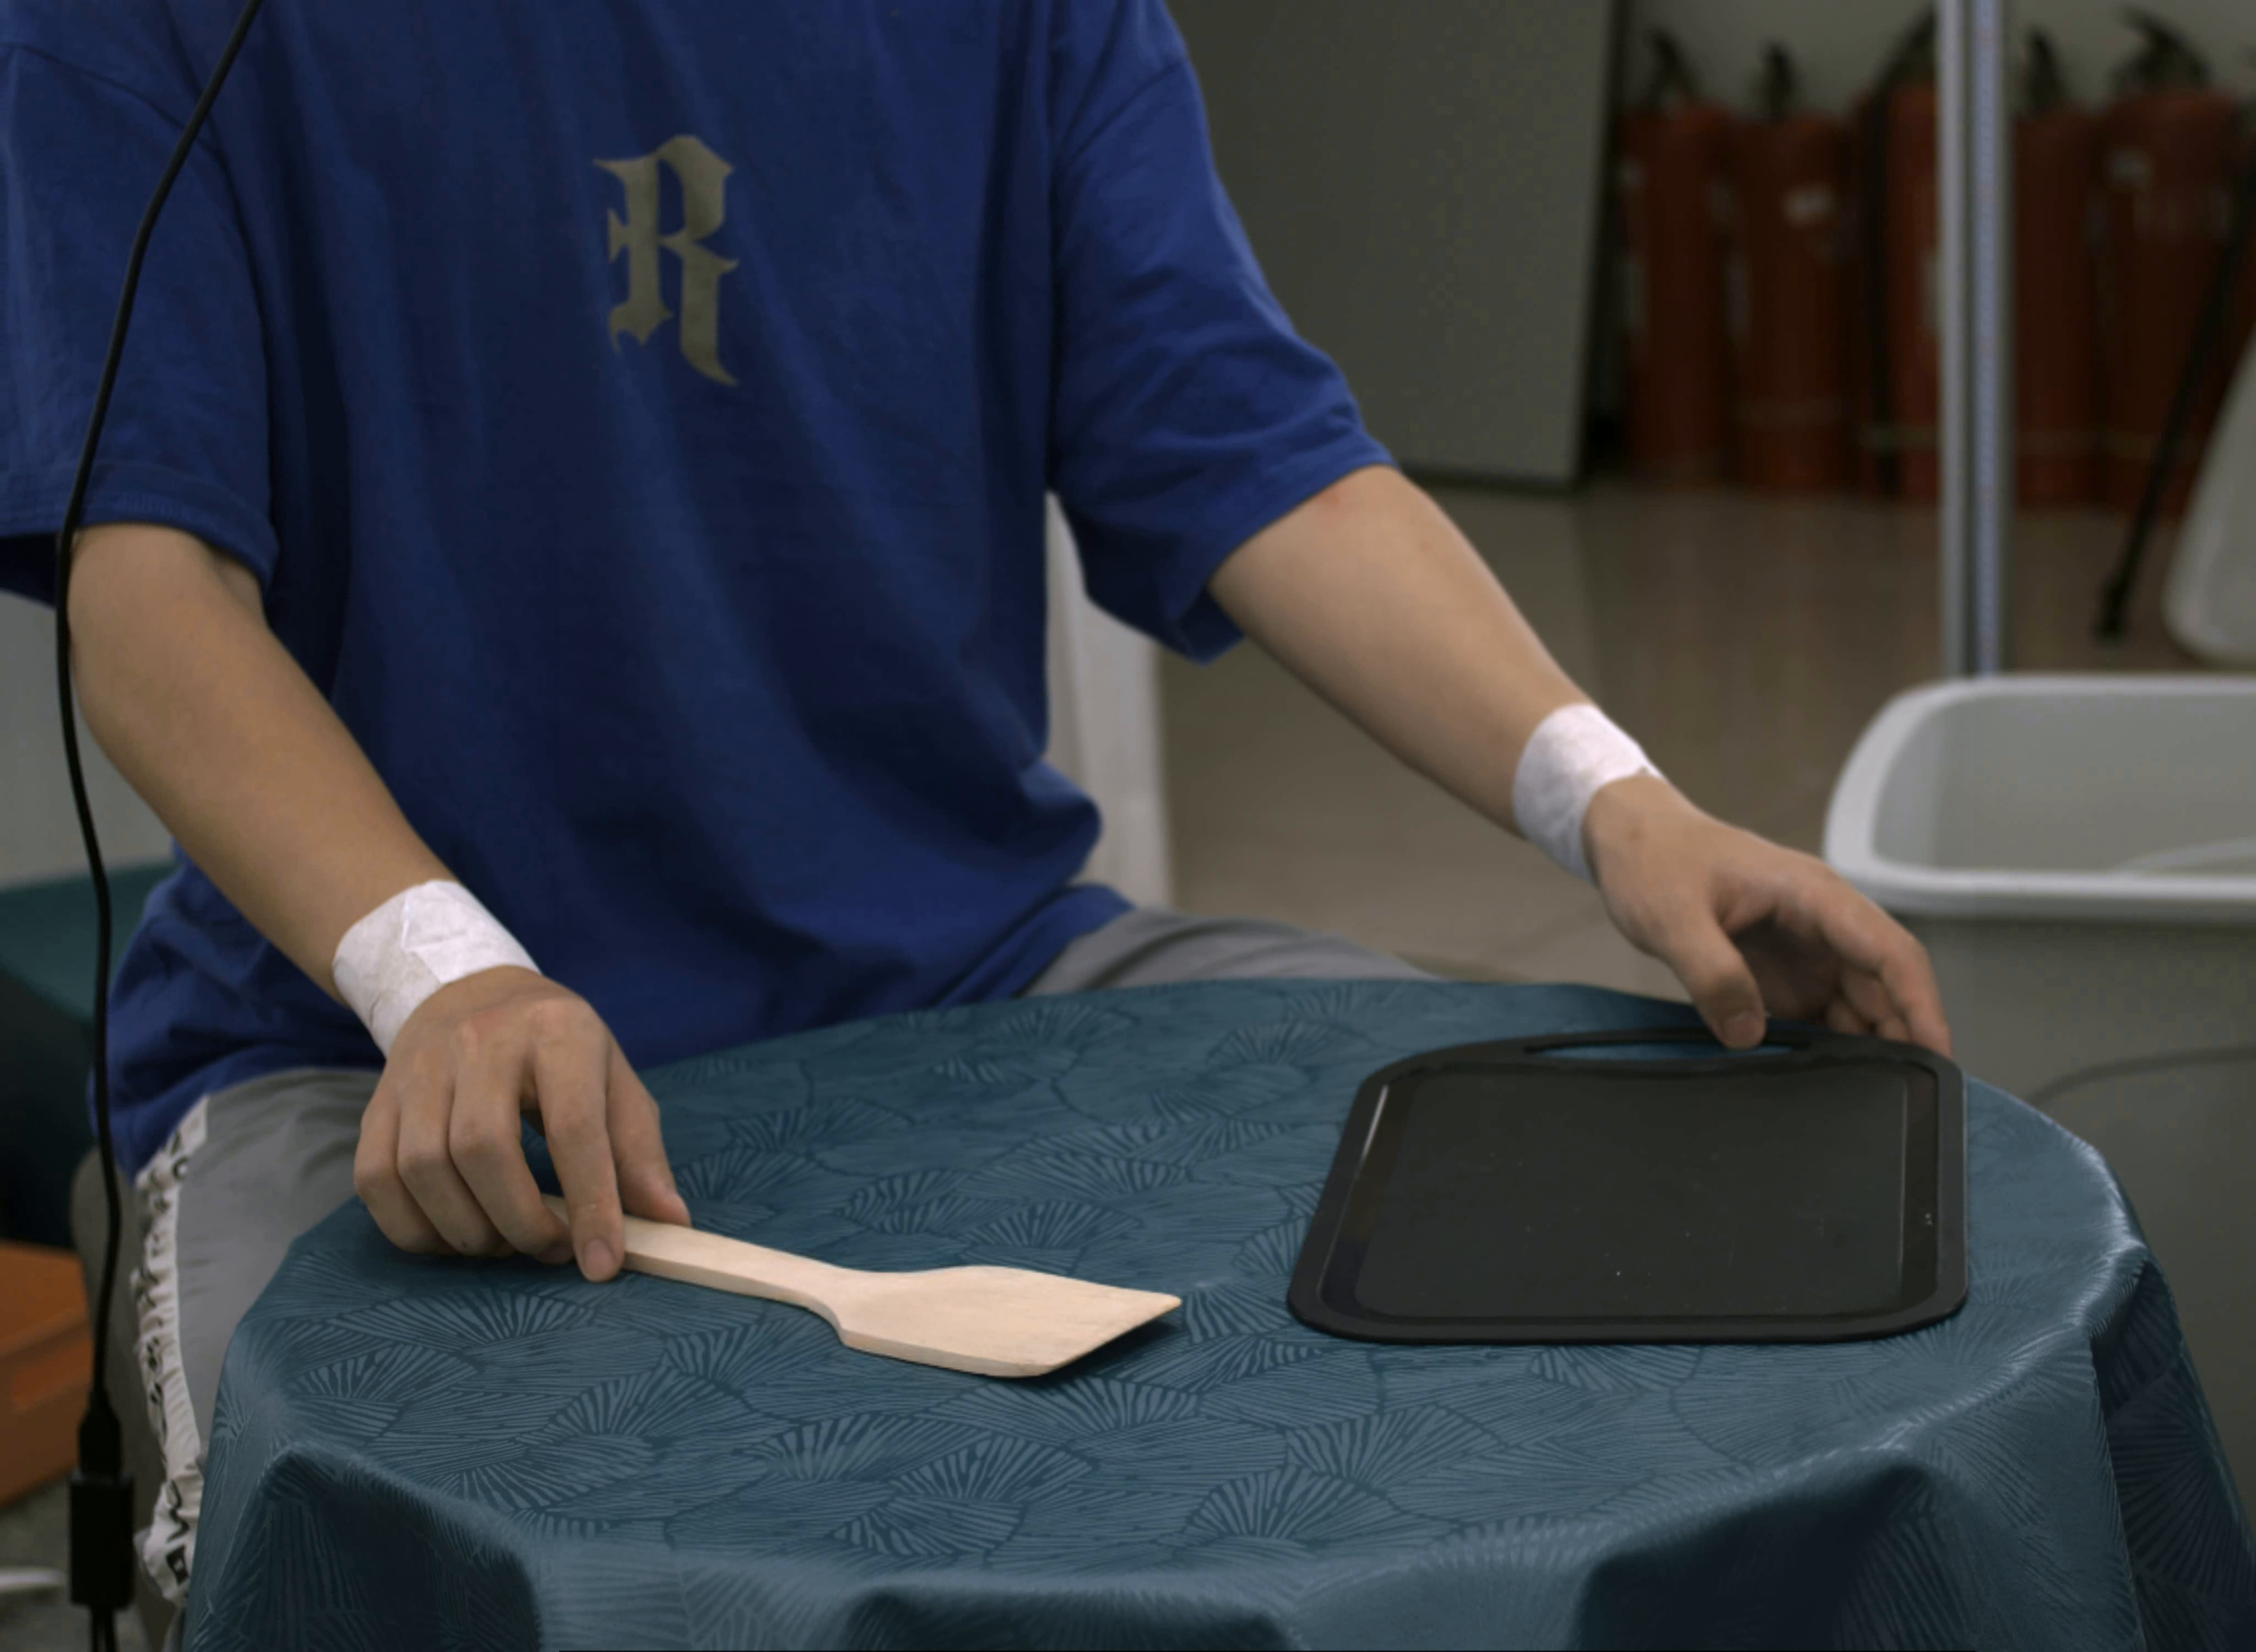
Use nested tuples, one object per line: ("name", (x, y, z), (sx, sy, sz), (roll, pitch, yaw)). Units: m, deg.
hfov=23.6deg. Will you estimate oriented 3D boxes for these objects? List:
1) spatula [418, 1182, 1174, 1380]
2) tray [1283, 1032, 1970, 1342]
("spatula", (-0.117, 0.141, 1.706), (0.295, 0.011, 0.071), (8, 19, 39))
("tray", (0.167, 0.112, 1.747), (0.209, 0.010, 0.324), (-1, 14, 10))
